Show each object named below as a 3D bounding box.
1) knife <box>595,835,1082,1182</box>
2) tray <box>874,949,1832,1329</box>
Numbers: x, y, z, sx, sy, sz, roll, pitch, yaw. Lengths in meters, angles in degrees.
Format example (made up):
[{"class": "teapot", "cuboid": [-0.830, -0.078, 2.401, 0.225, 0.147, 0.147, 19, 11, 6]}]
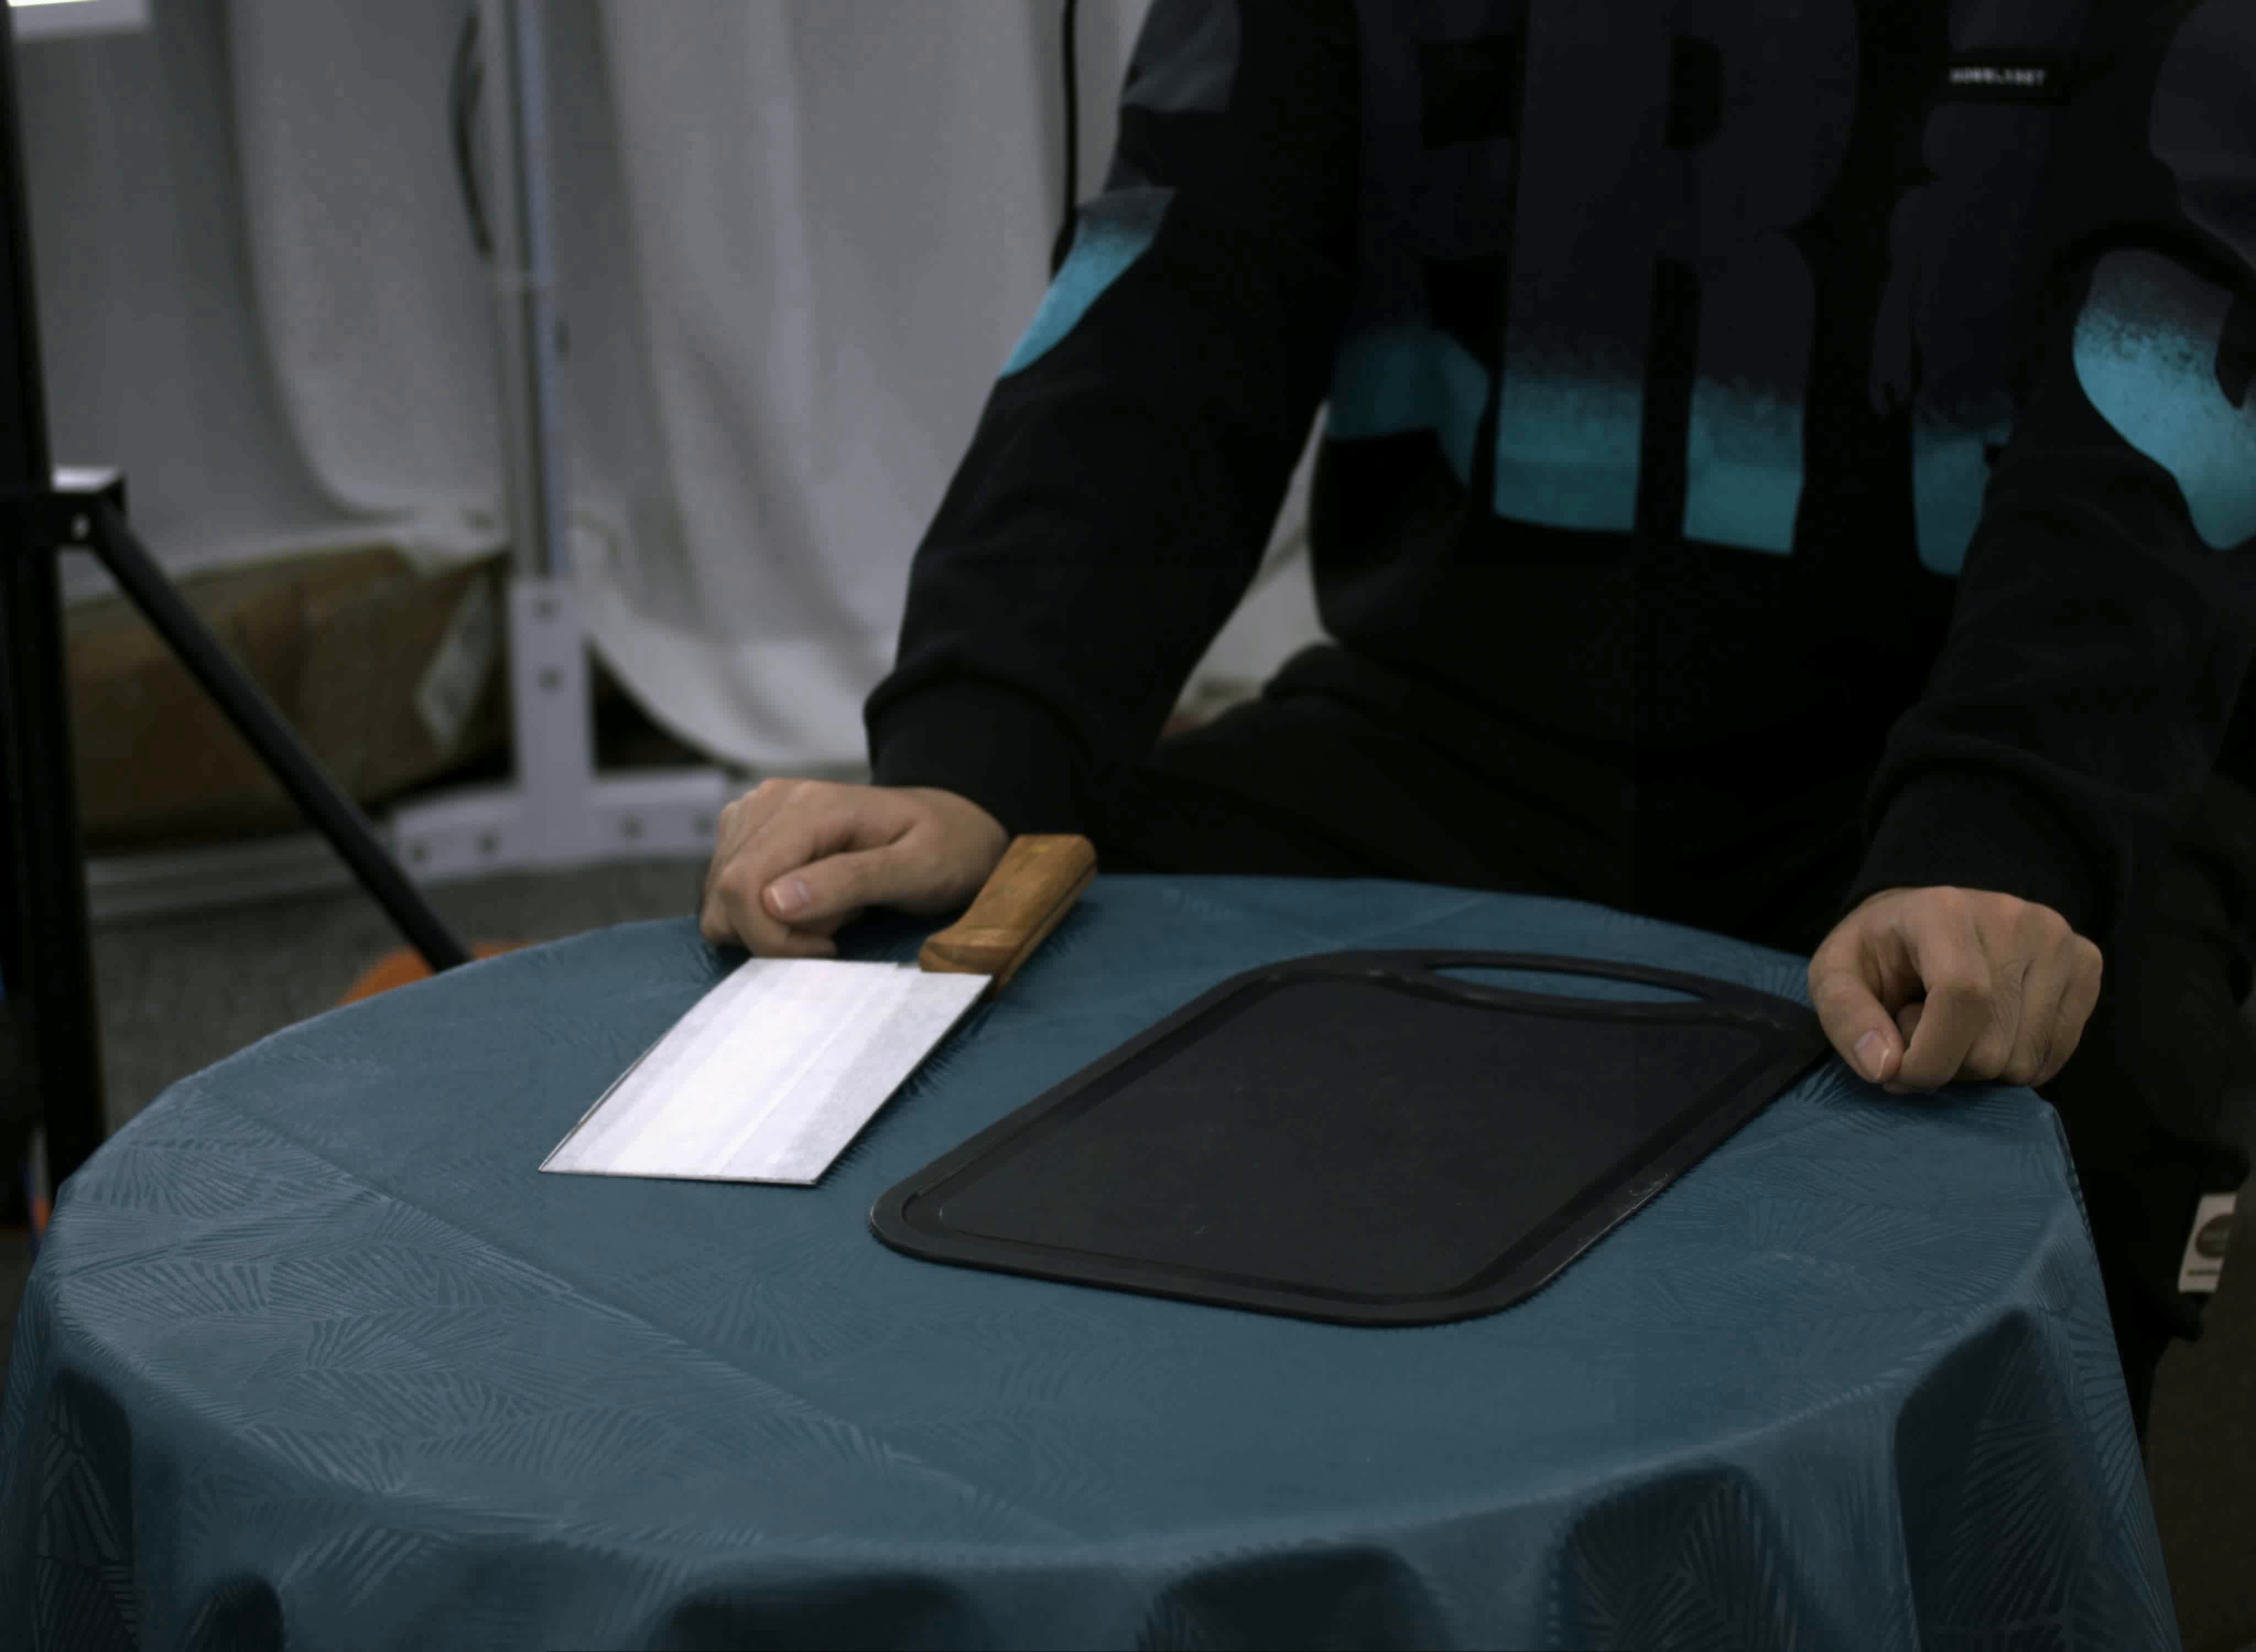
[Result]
[{"class": "knife", "cuboid": [-0.092, 0.058, 1.724, 0.094, 0.021, 0.303, 1, 18, 17]}, {"class": "tray", "cuboid": [0.077, 0.086, 1.610, 0.215, 0.010, 0.320, 6, 18, 29]}]
